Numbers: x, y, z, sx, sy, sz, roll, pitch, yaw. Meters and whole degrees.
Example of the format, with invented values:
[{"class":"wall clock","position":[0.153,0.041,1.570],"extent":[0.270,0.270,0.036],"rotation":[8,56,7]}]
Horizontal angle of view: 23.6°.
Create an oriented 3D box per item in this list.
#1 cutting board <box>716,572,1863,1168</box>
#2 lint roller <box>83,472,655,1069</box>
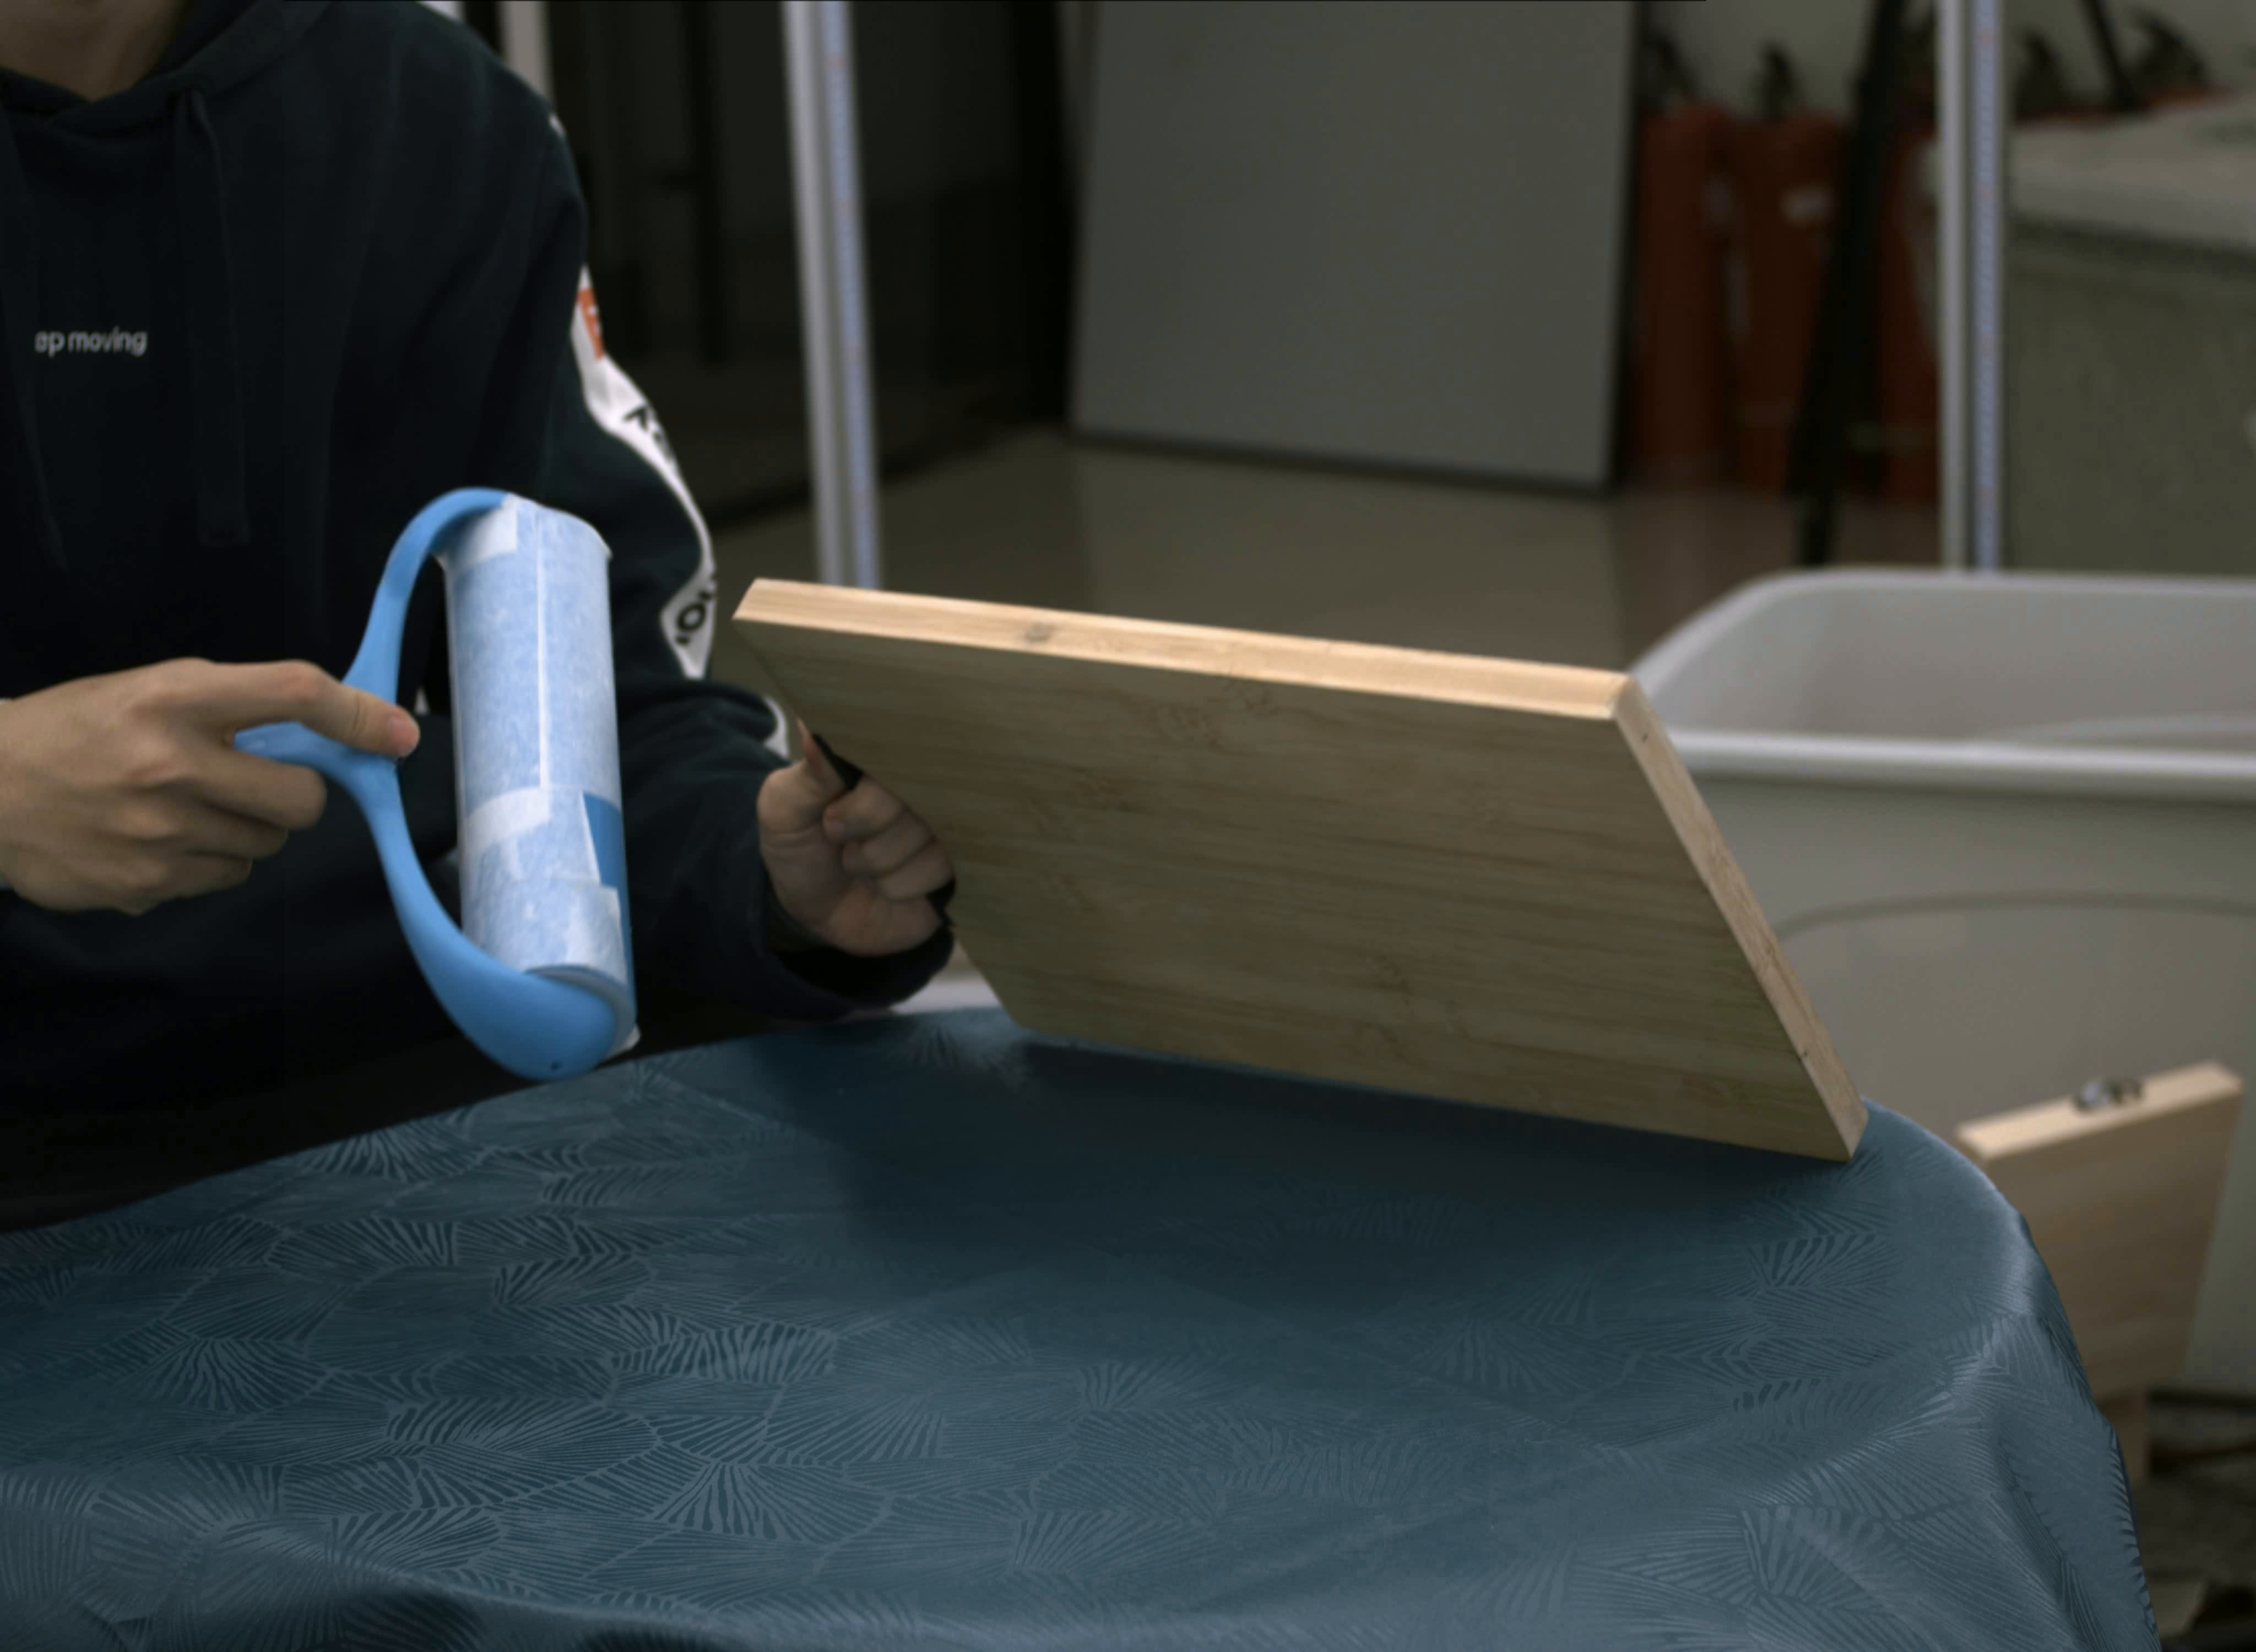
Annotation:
[{"class":"cutting board","position":[0.052,0.013,1.775],"extent":[0.351,0.249,0.023],"rotation":[7,55,35]},{"class":"lint roller","position":[-0.245,-0.014,1.729],"extent":[0.177,0.068,0.232],"rotation":[-6,53,-8]}]
